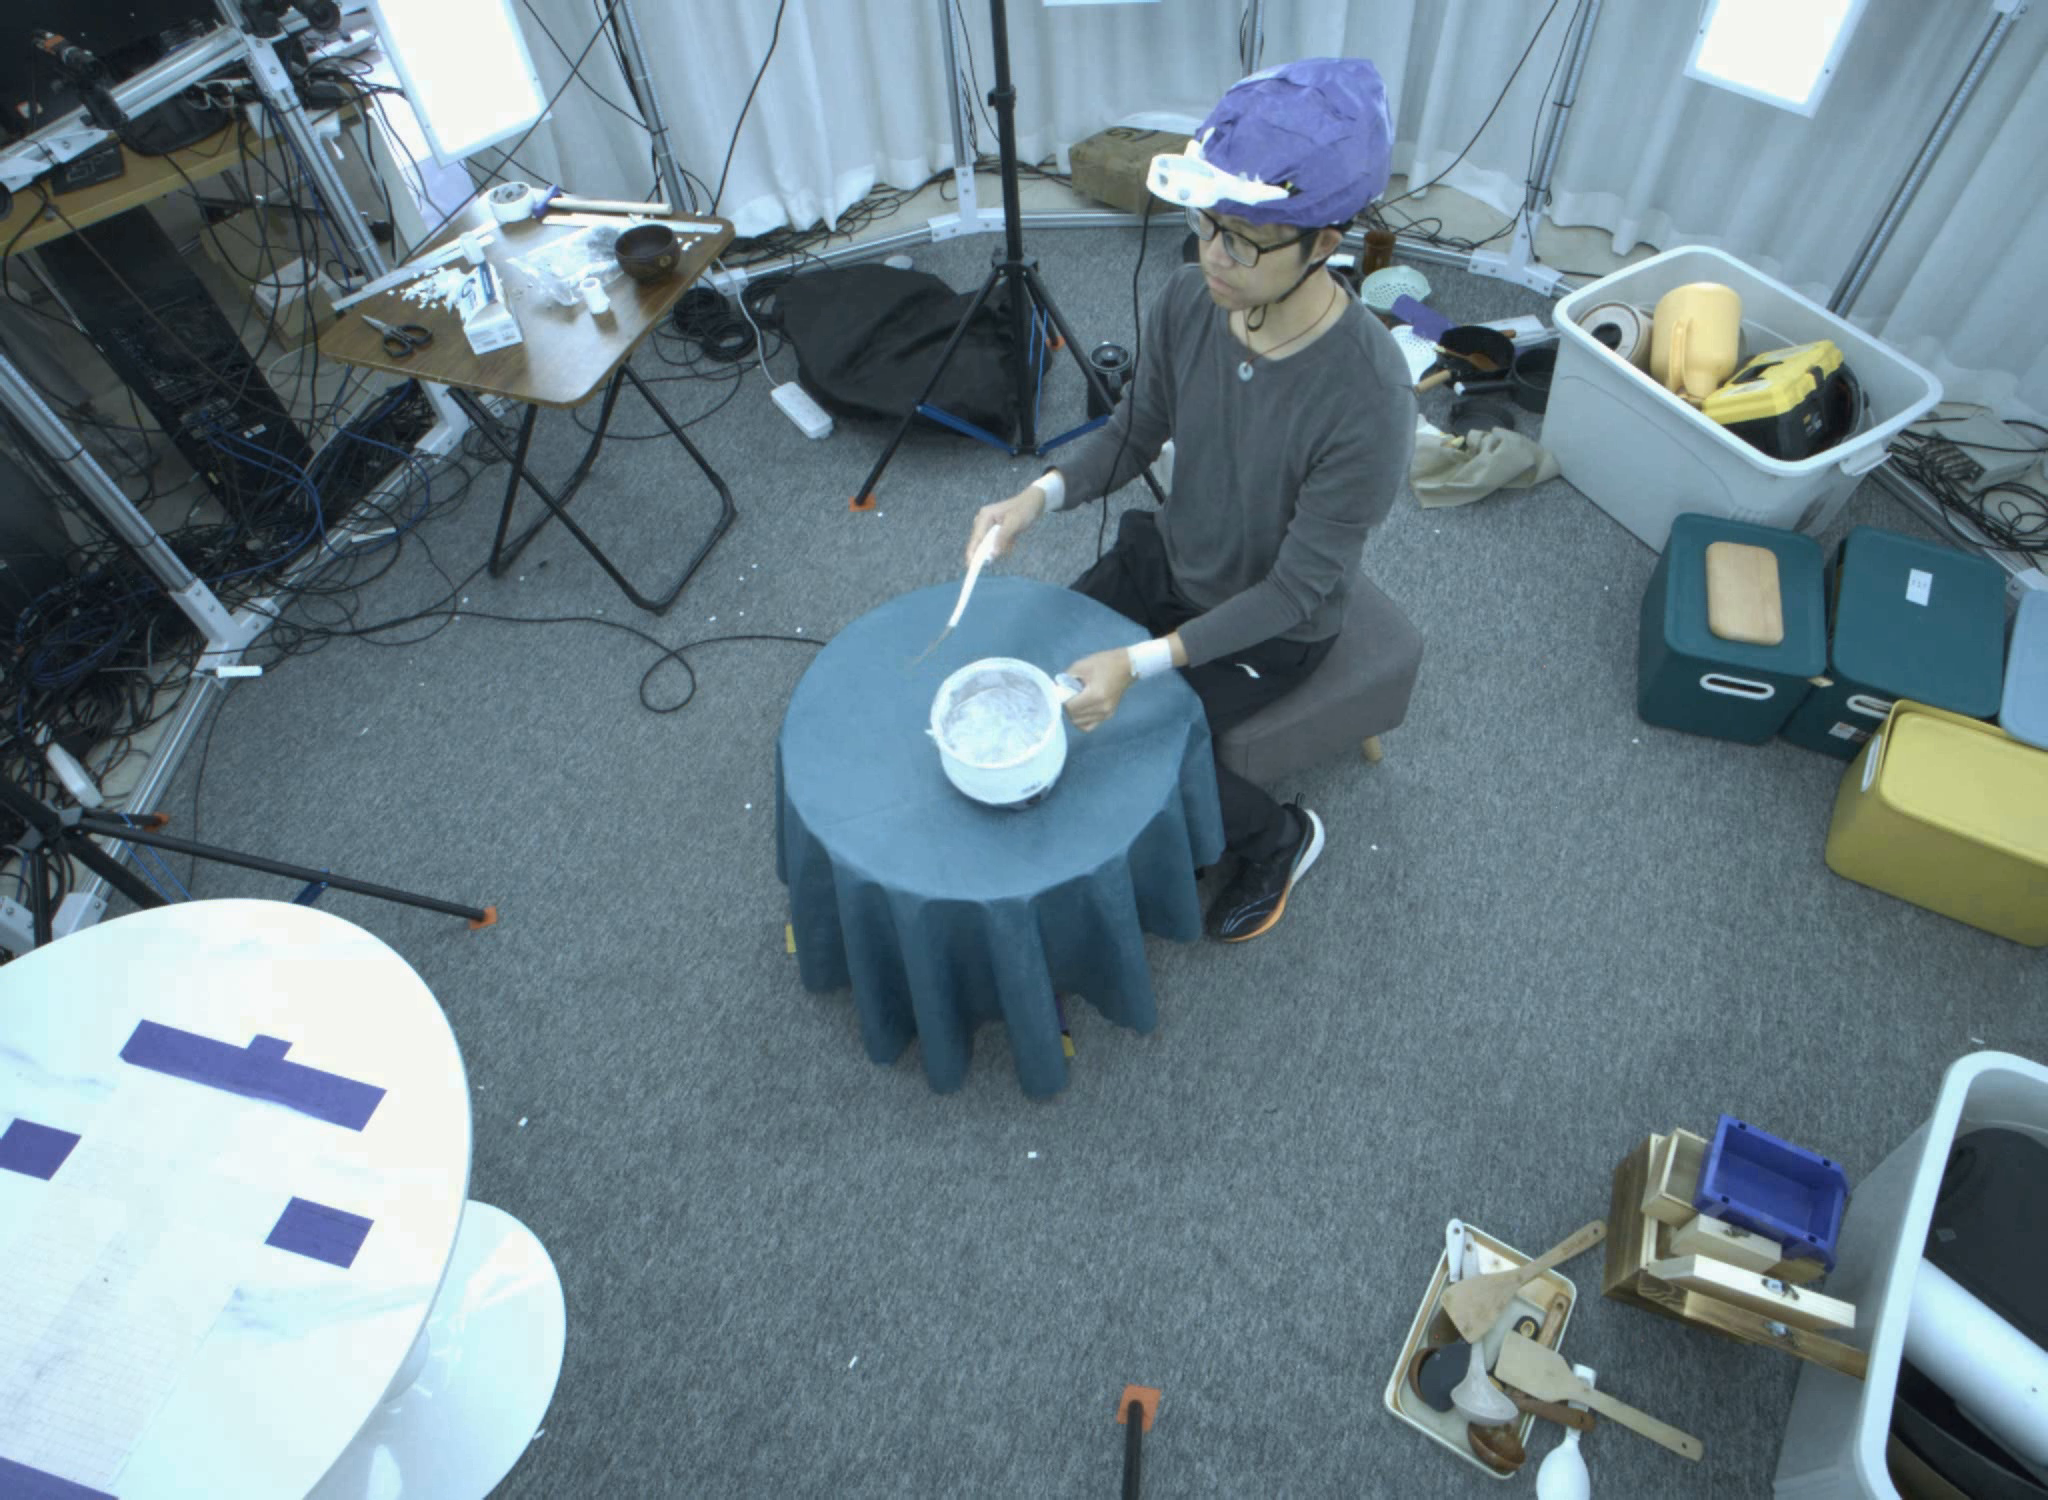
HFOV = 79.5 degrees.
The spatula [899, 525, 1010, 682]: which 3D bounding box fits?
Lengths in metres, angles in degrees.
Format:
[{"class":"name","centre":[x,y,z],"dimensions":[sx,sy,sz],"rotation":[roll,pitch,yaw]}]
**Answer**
[{"class":"spatula","centre":[-0.093,-0.203,1.703],"dimensions":[0.033,0.058,0.287],"rotation":[38,60,-19]}]

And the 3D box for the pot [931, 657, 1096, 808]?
[{"class":"pot","centre":[-0.008,-0.034,1.719],"dimensions":[0.235,0.138,0.175],"rotation":[-28,62,-11]}]
